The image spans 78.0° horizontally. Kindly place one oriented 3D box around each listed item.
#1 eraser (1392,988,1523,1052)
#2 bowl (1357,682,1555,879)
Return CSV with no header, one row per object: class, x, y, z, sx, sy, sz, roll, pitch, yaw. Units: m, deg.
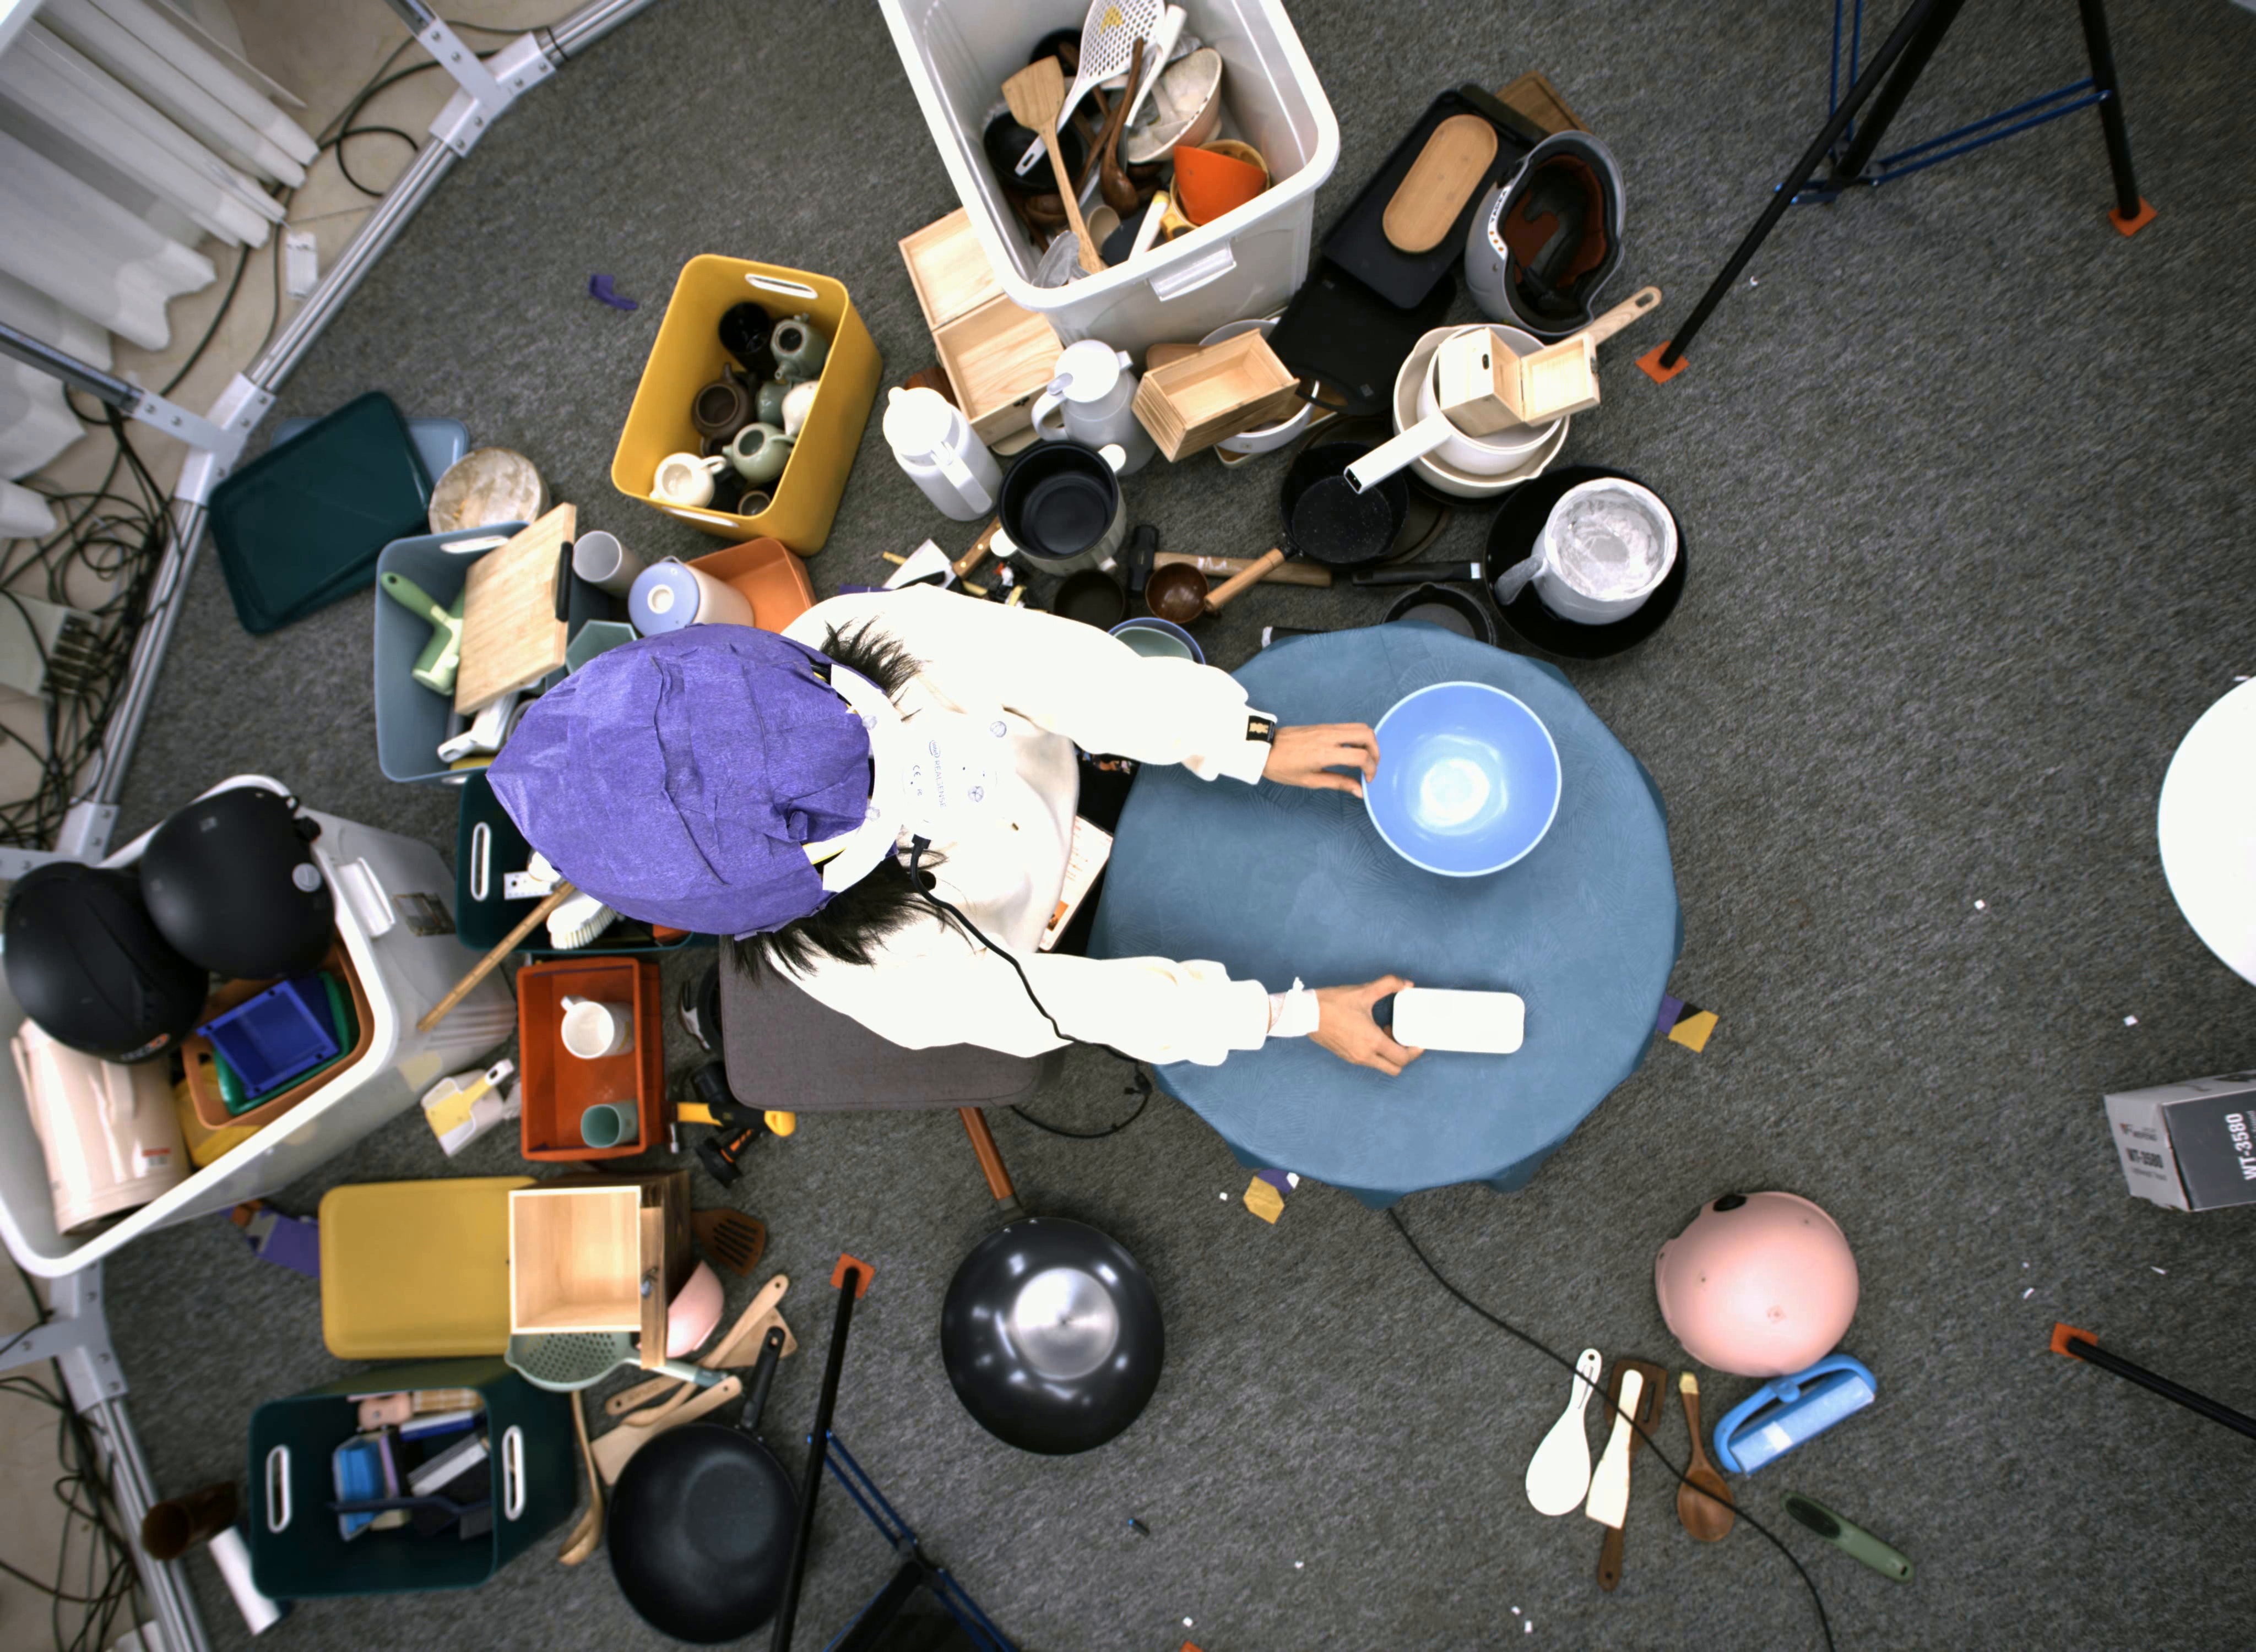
eraser,0.339,0.195,1.421,0.132,0.034,0.063,2,94,9
bowl,0.326,-0.044,1.405,0.197,0.095,0.196,0,89,2
